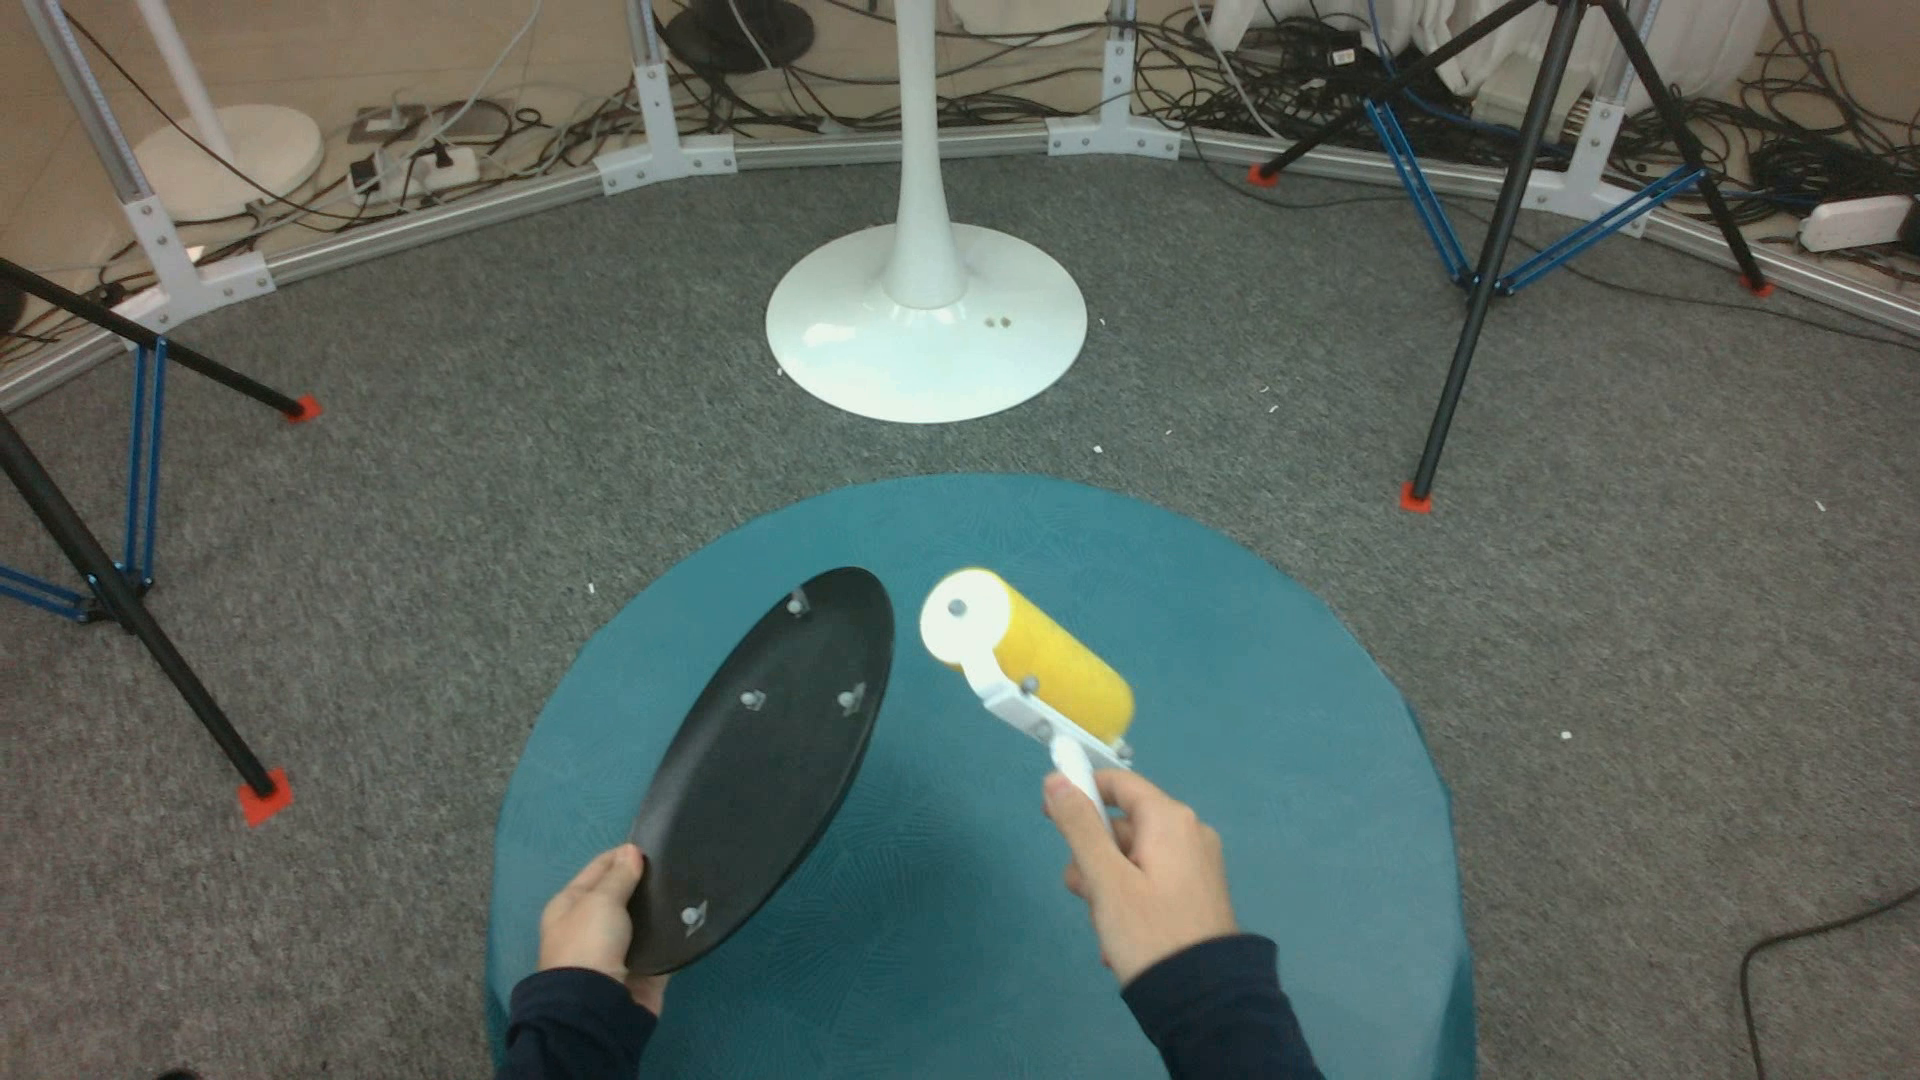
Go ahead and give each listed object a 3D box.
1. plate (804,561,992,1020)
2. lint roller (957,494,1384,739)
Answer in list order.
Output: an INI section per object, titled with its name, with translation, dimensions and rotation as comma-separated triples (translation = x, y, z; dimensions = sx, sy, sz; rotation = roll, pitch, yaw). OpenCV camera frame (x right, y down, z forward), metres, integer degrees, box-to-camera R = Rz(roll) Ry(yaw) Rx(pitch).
[plate]
translation = -0.034, 0.133, 0.754
dimensions = 0.023, 0.243, 0.245
rotation = 2, 44, -26
[lint roller]
translation = 0.117, 0.031, 0.654
dimensions = 0.192, 0.174, 0.051
rotation = 25, 103, 30
